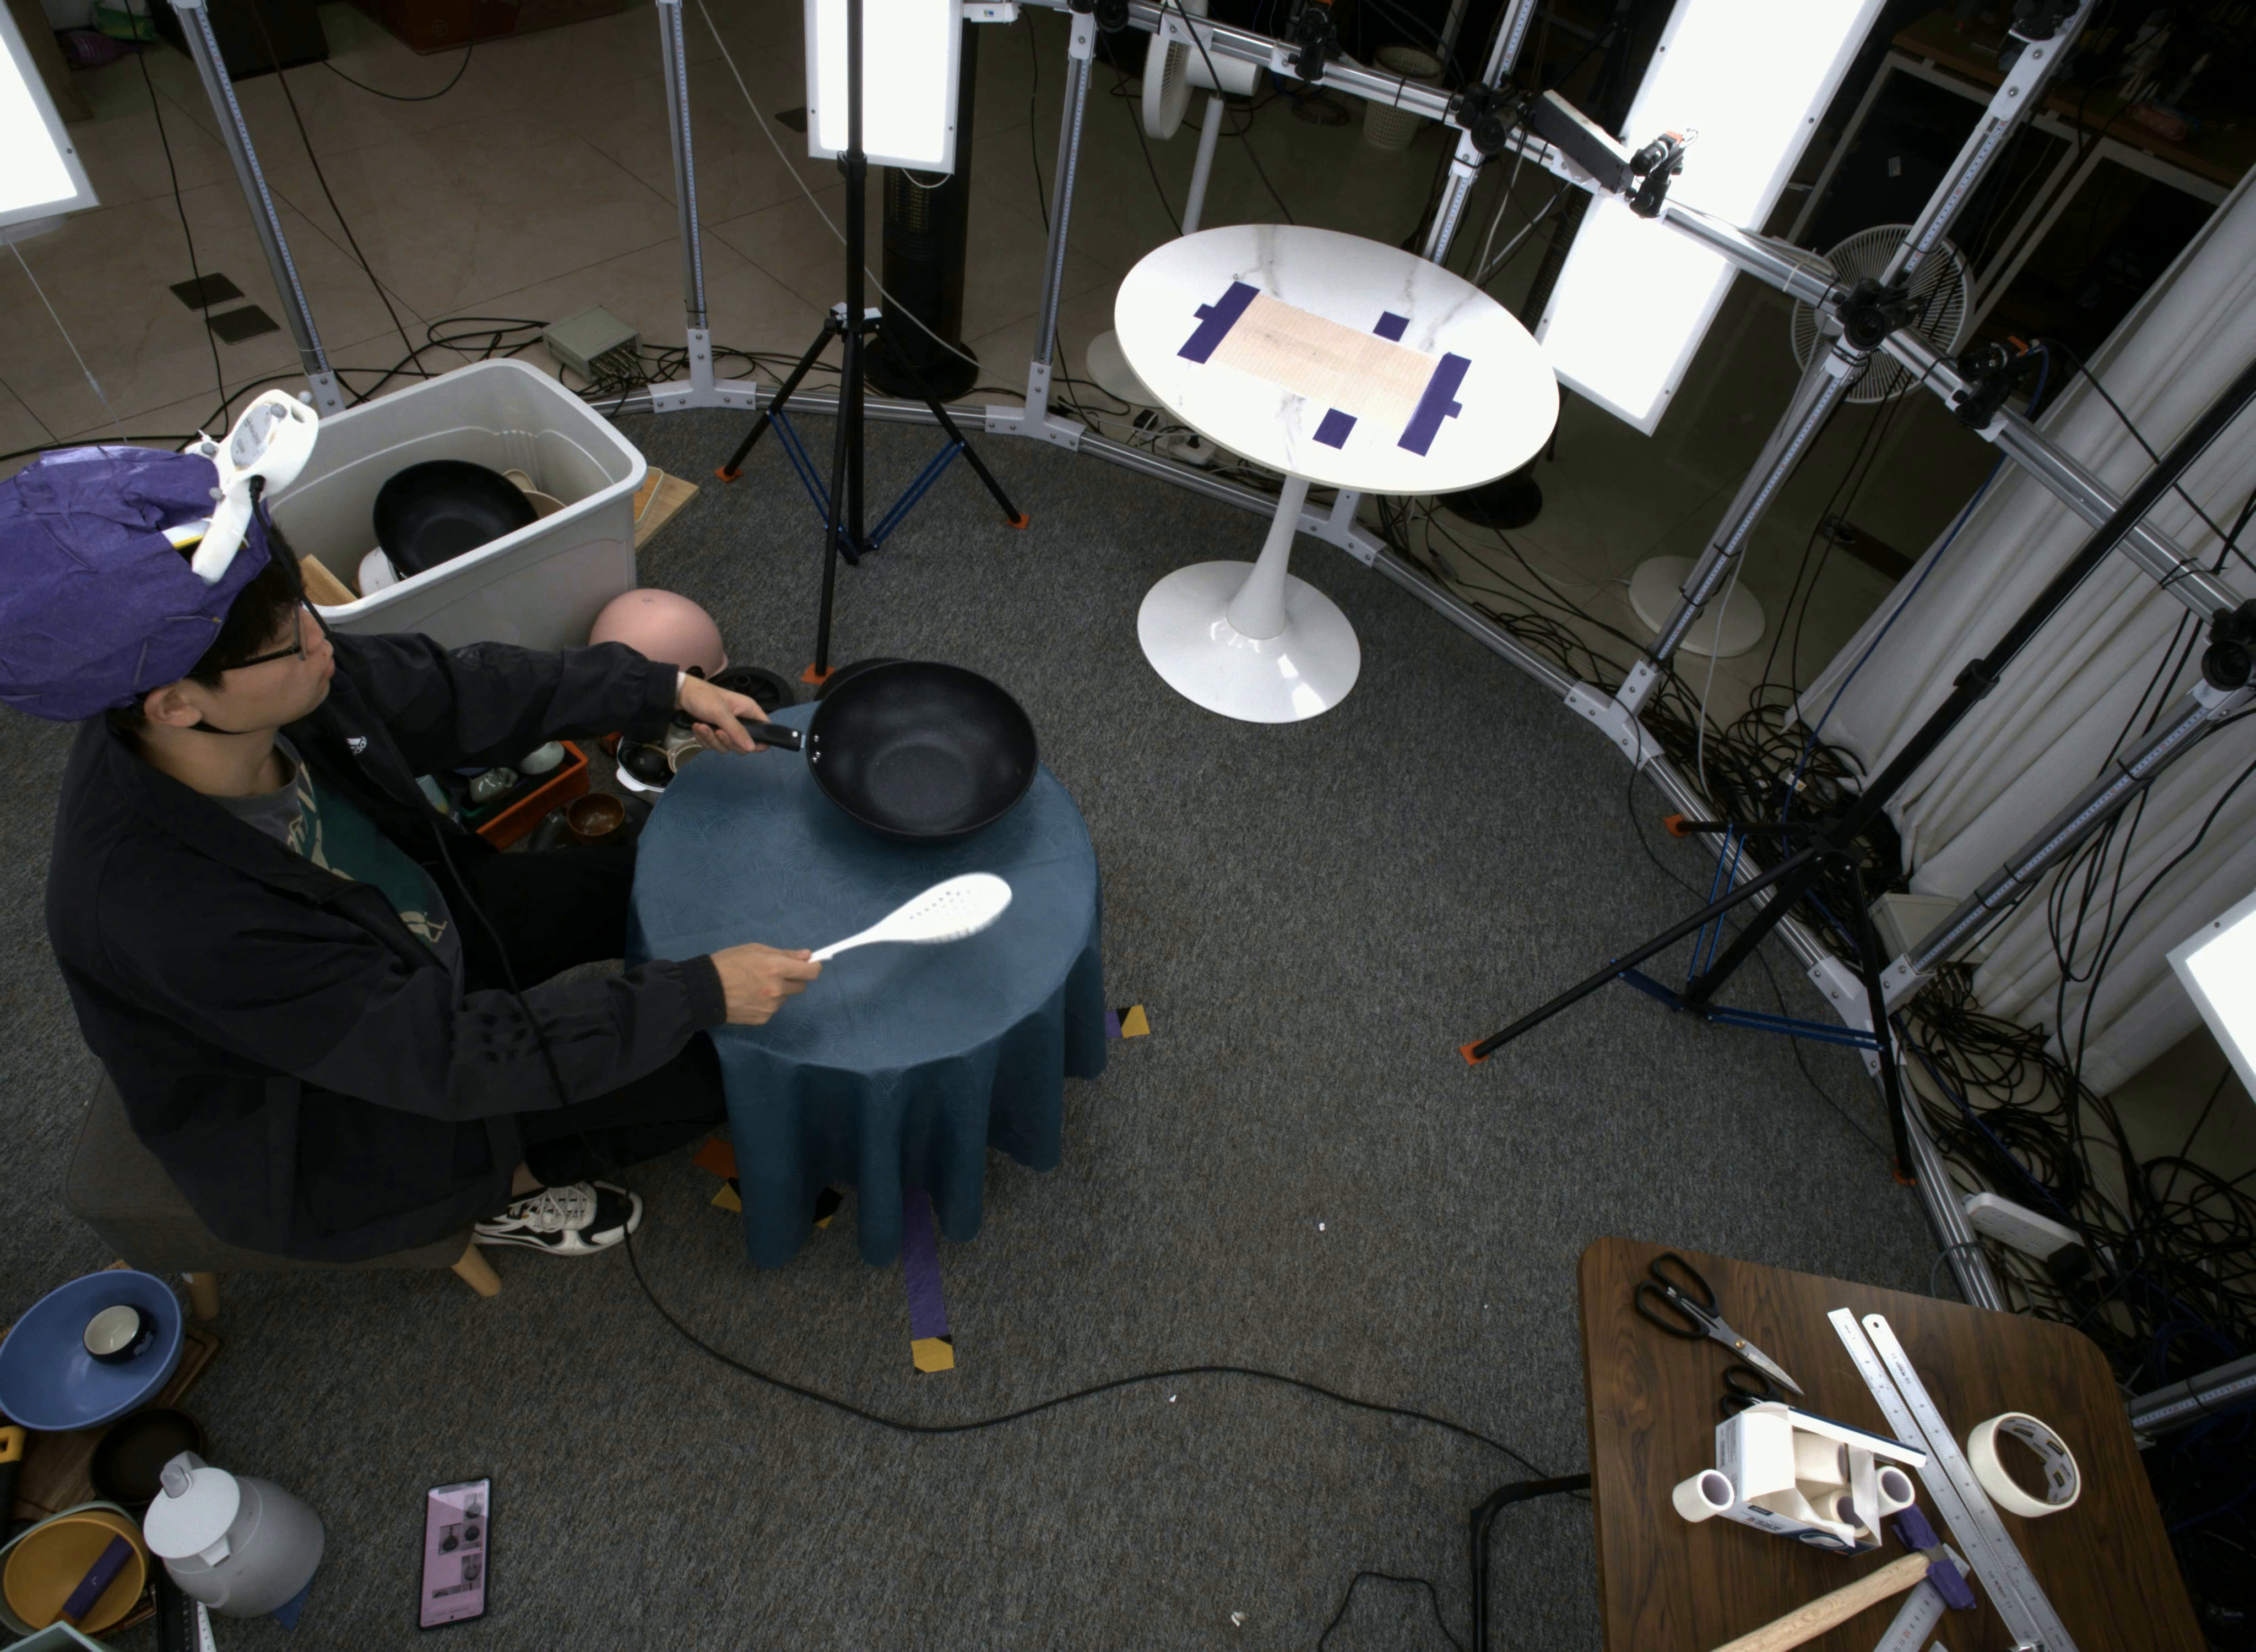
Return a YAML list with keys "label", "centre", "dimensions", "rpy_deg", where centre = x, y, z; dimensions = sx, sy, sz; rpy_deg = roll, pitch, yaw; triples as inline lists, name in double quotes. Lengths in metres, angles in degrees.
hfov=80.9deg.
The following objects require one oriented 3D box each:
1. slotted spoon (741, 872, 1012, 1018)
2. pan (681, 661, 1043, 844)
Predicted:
- label: "slotted spoon"
  centre: [-0.299, 0.142, 1.550]
  dimensions: [0.348, 0.052, 0.132]
  rpy_deg: [-18, 26, -19]
- label: "pan"
  centre: [-0.352, -0.097, 1.746]
  dimensions: [0.477, 0.114, 0.304]
  rpy_deg: [3, 52, -12]
